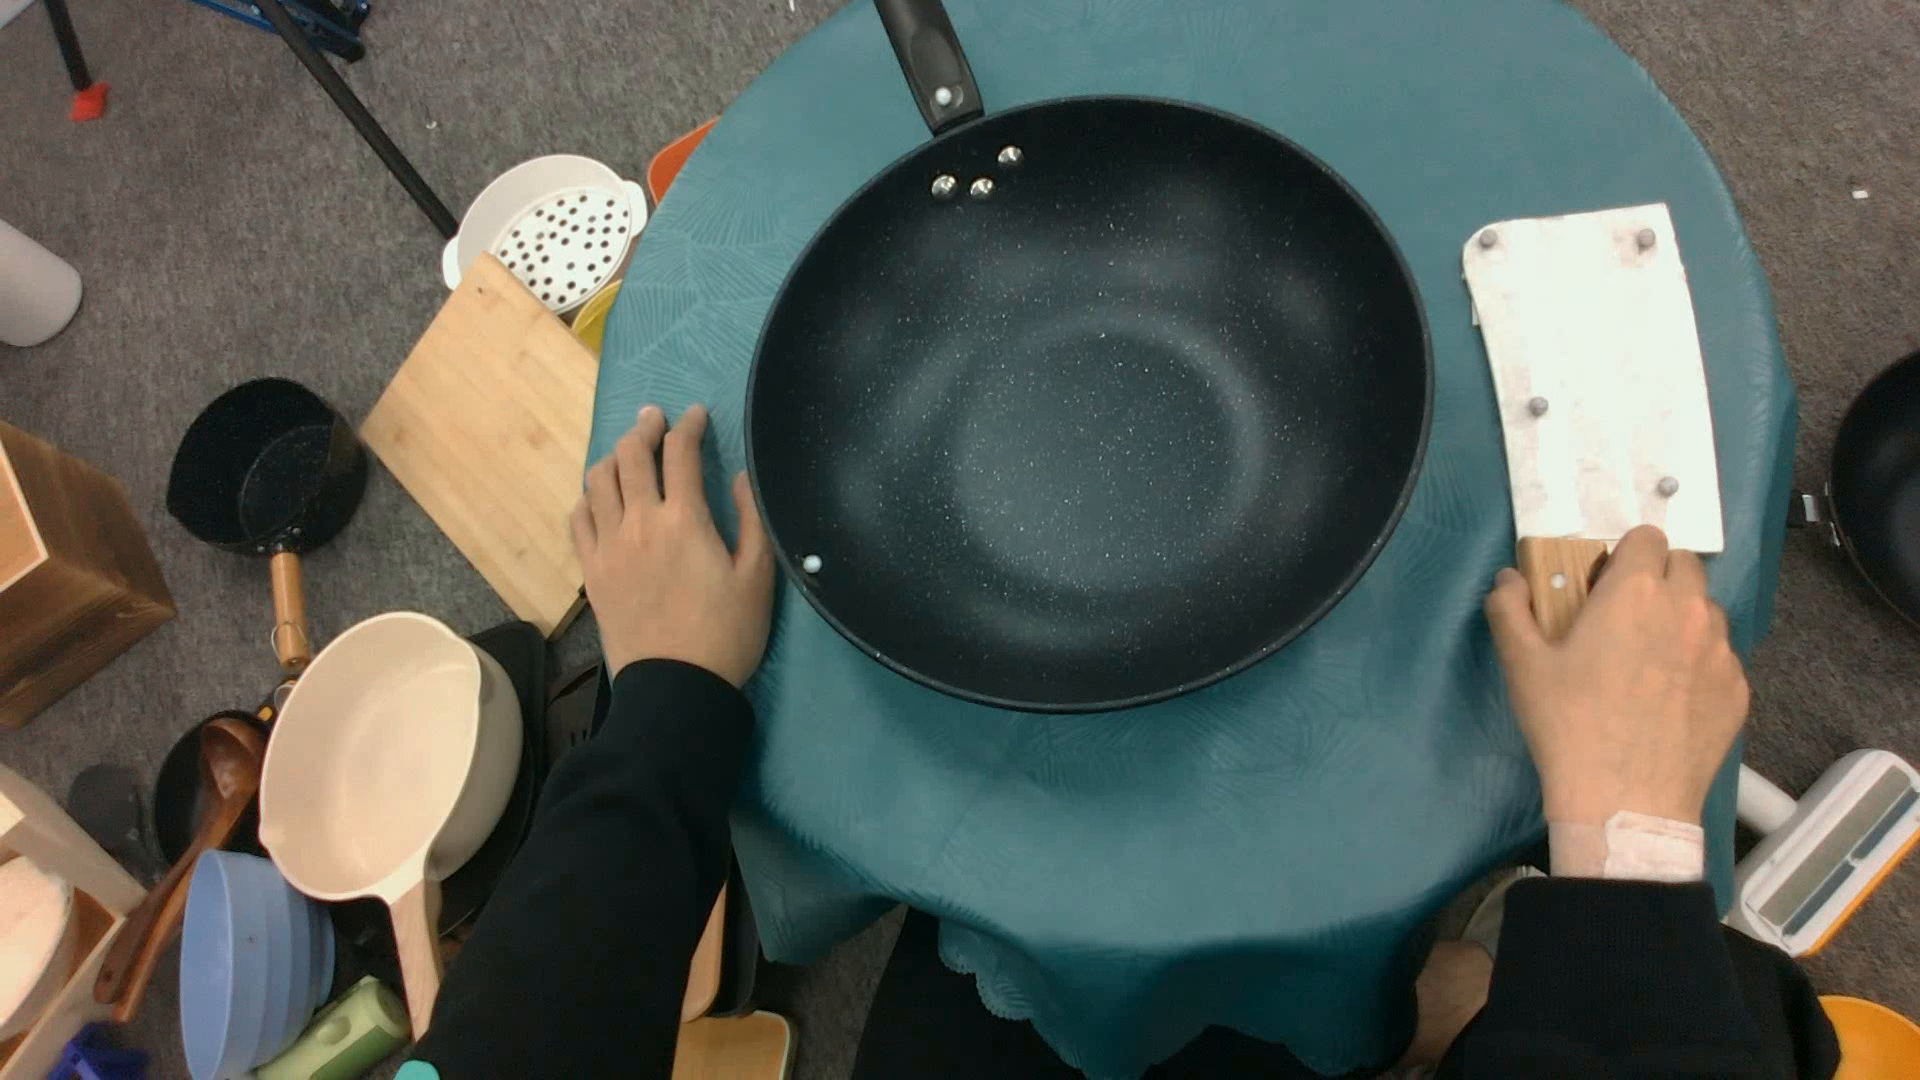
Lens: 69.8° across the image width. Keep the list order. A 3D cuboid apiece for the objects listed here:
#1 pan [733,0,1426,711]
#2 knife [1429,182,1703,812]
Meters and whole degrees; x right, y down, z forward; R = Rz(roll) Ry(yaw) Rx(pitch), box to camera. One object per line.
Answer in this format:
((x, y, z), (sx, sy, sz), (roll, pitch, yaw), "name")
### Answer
((0.024, -0.137, 0.674), (0.310, 0.111, 0.478), (-22, 67, 1), "pan")
((0.278, -0.033, 0.632), (0.114, 0.021, 0.316), (2, 67, 11), "knife")
